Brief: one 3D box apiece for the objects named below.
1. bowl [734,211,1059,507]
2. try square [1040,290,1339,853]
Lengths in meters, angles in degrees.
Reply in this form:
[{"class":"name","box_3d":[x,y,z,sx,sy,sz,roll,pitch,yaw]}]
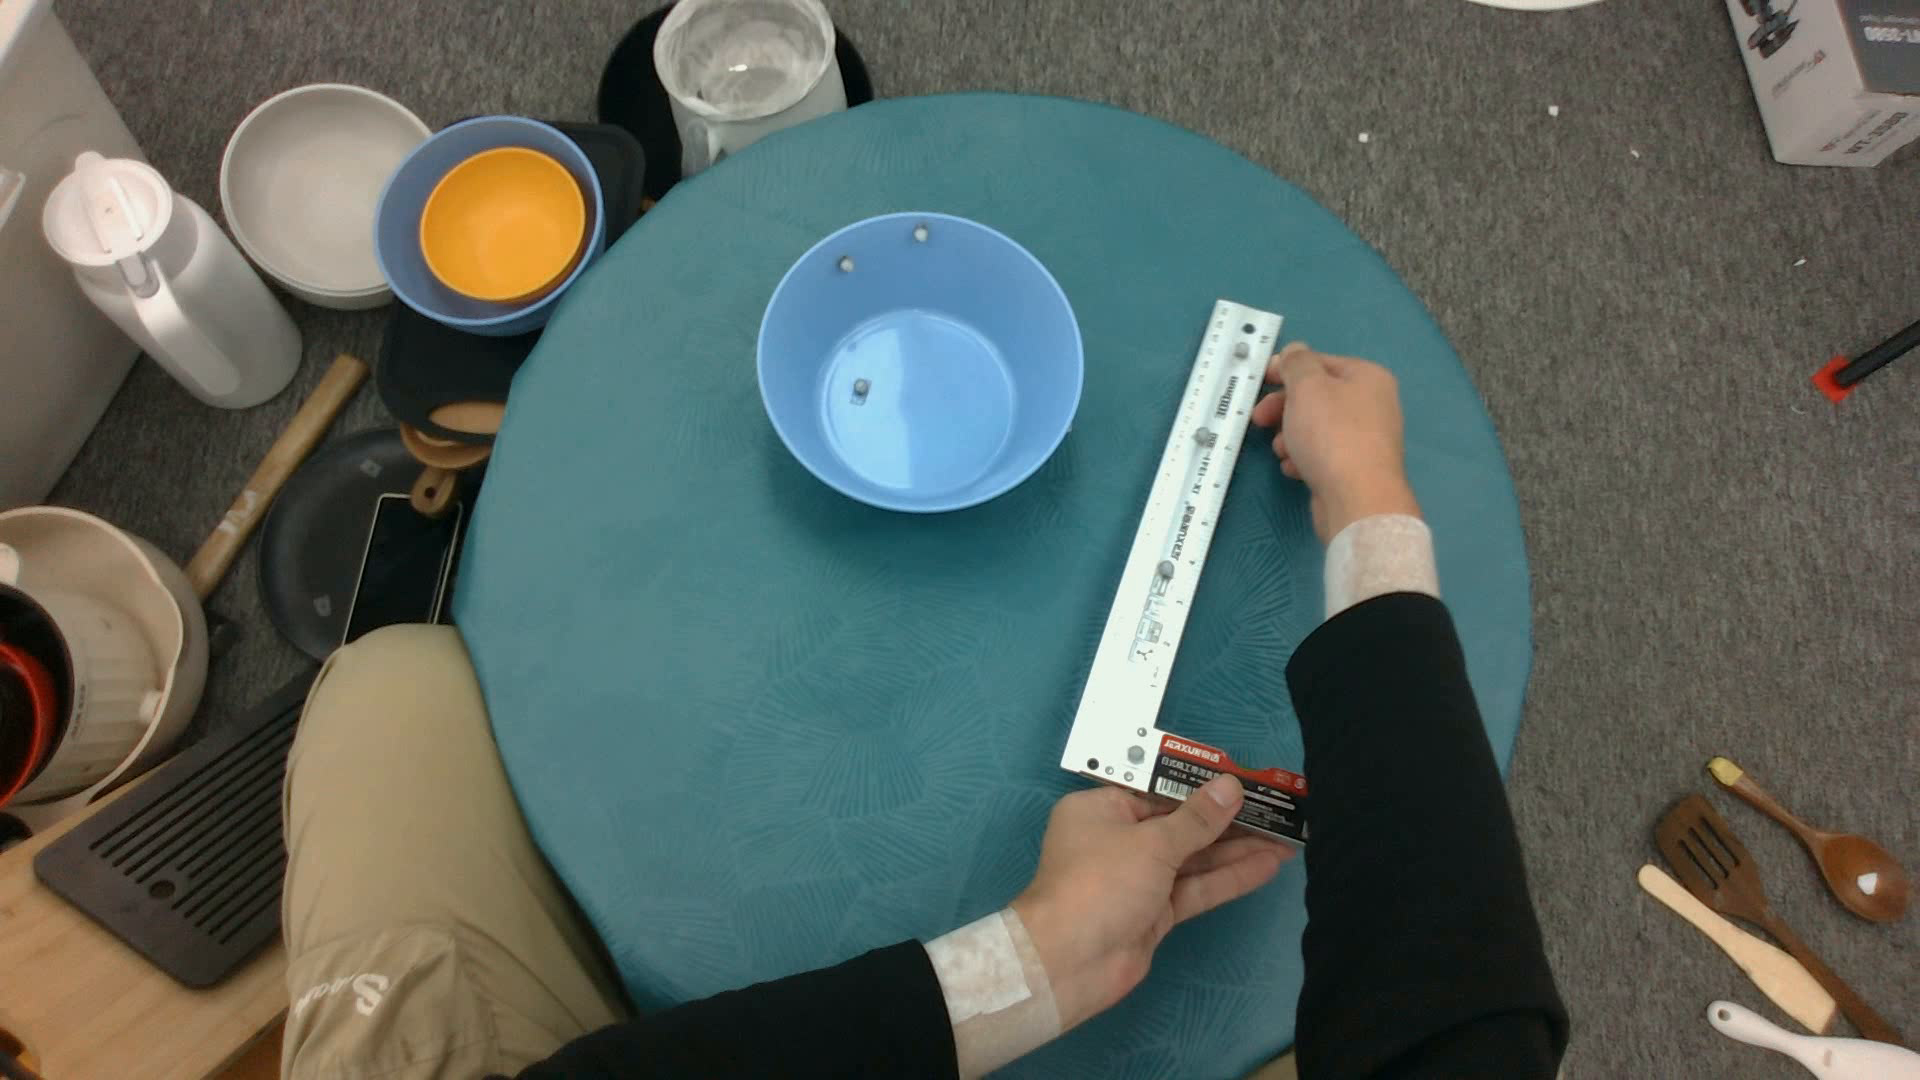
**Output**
[{"class":"bowl","box_3d":[-0.036,-0.091,0.769,0.176,0.070,0.176,2,71,-6]},{"class":"try square","box_3d":[0.158,0.003,0.765,0.152,0.016,0.314,17,64,4]}]
